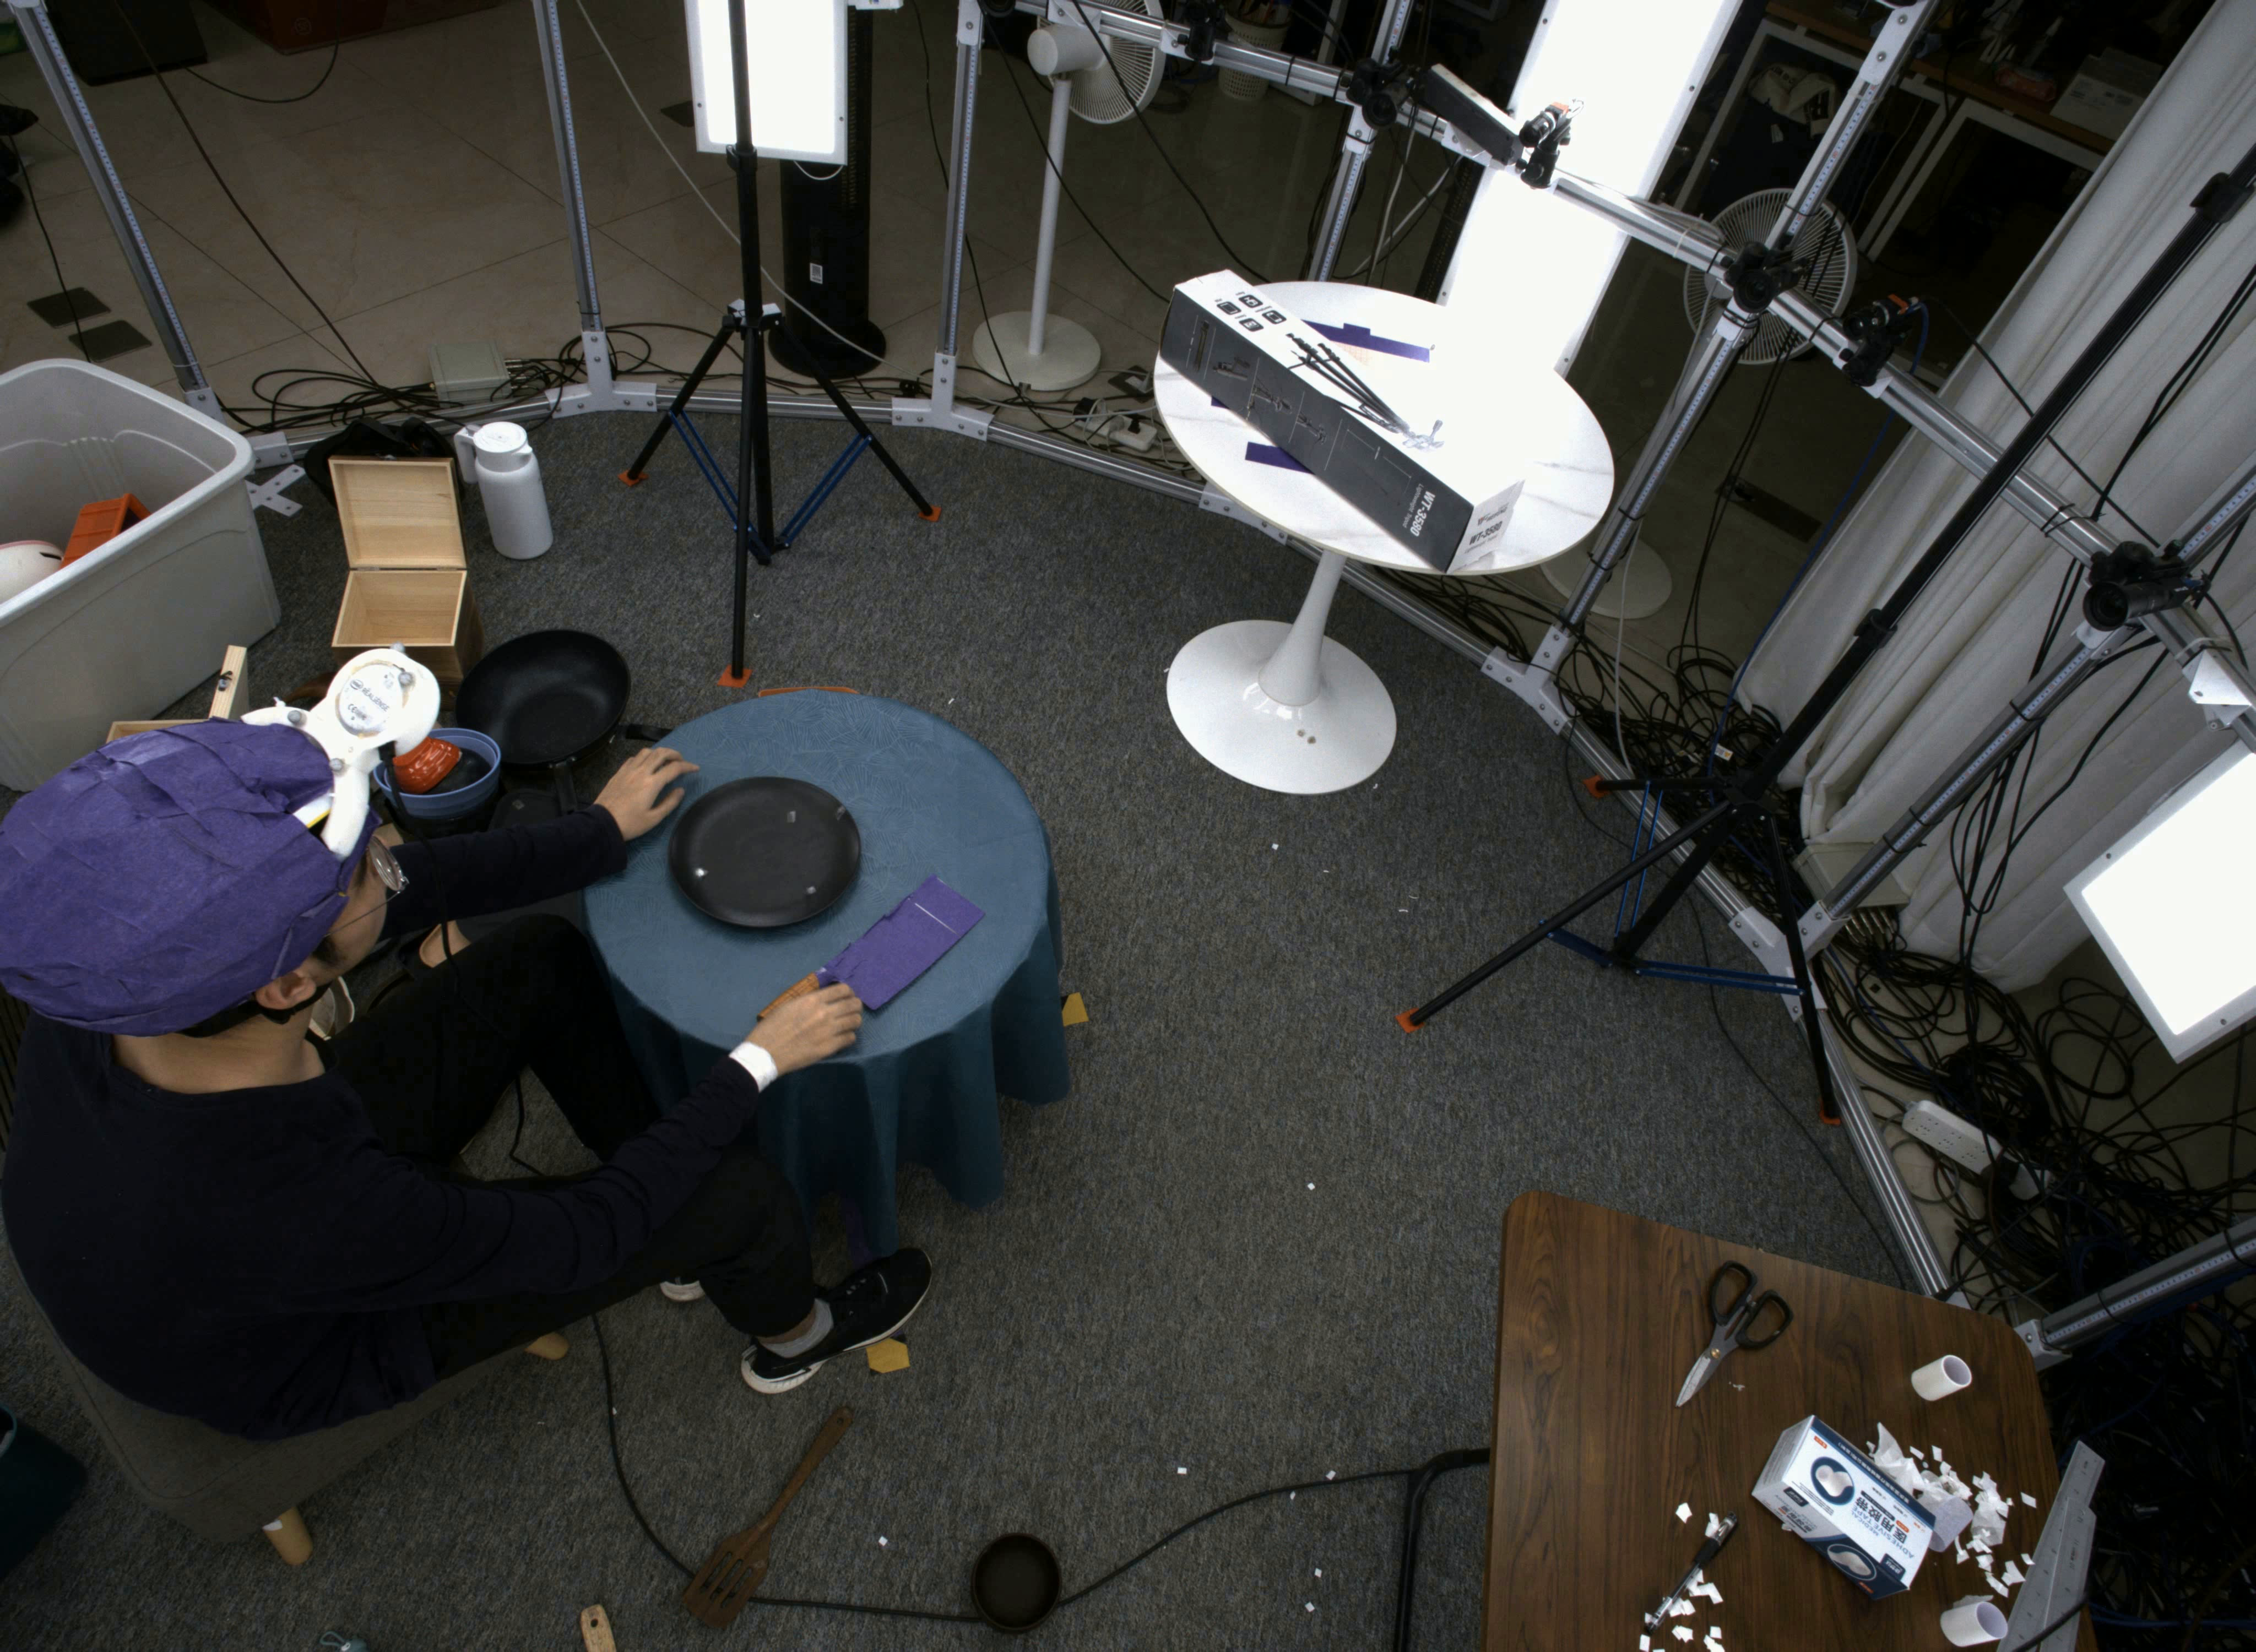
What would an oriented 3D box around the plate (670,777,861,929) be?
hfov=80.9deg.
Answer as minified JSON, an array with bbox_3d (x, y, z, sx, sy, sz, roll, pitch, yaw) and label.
[{"bbox_3d":[-0.470,0.035,1.683,0.244,0.024,0.240,8,52,-9],"label":"plate"}]

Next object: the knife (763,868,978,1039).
[{"bbox_3d":[-0.311,0.167,1.623,0.102,0.033,0.315,35,53,13],"label":"knife"}]
